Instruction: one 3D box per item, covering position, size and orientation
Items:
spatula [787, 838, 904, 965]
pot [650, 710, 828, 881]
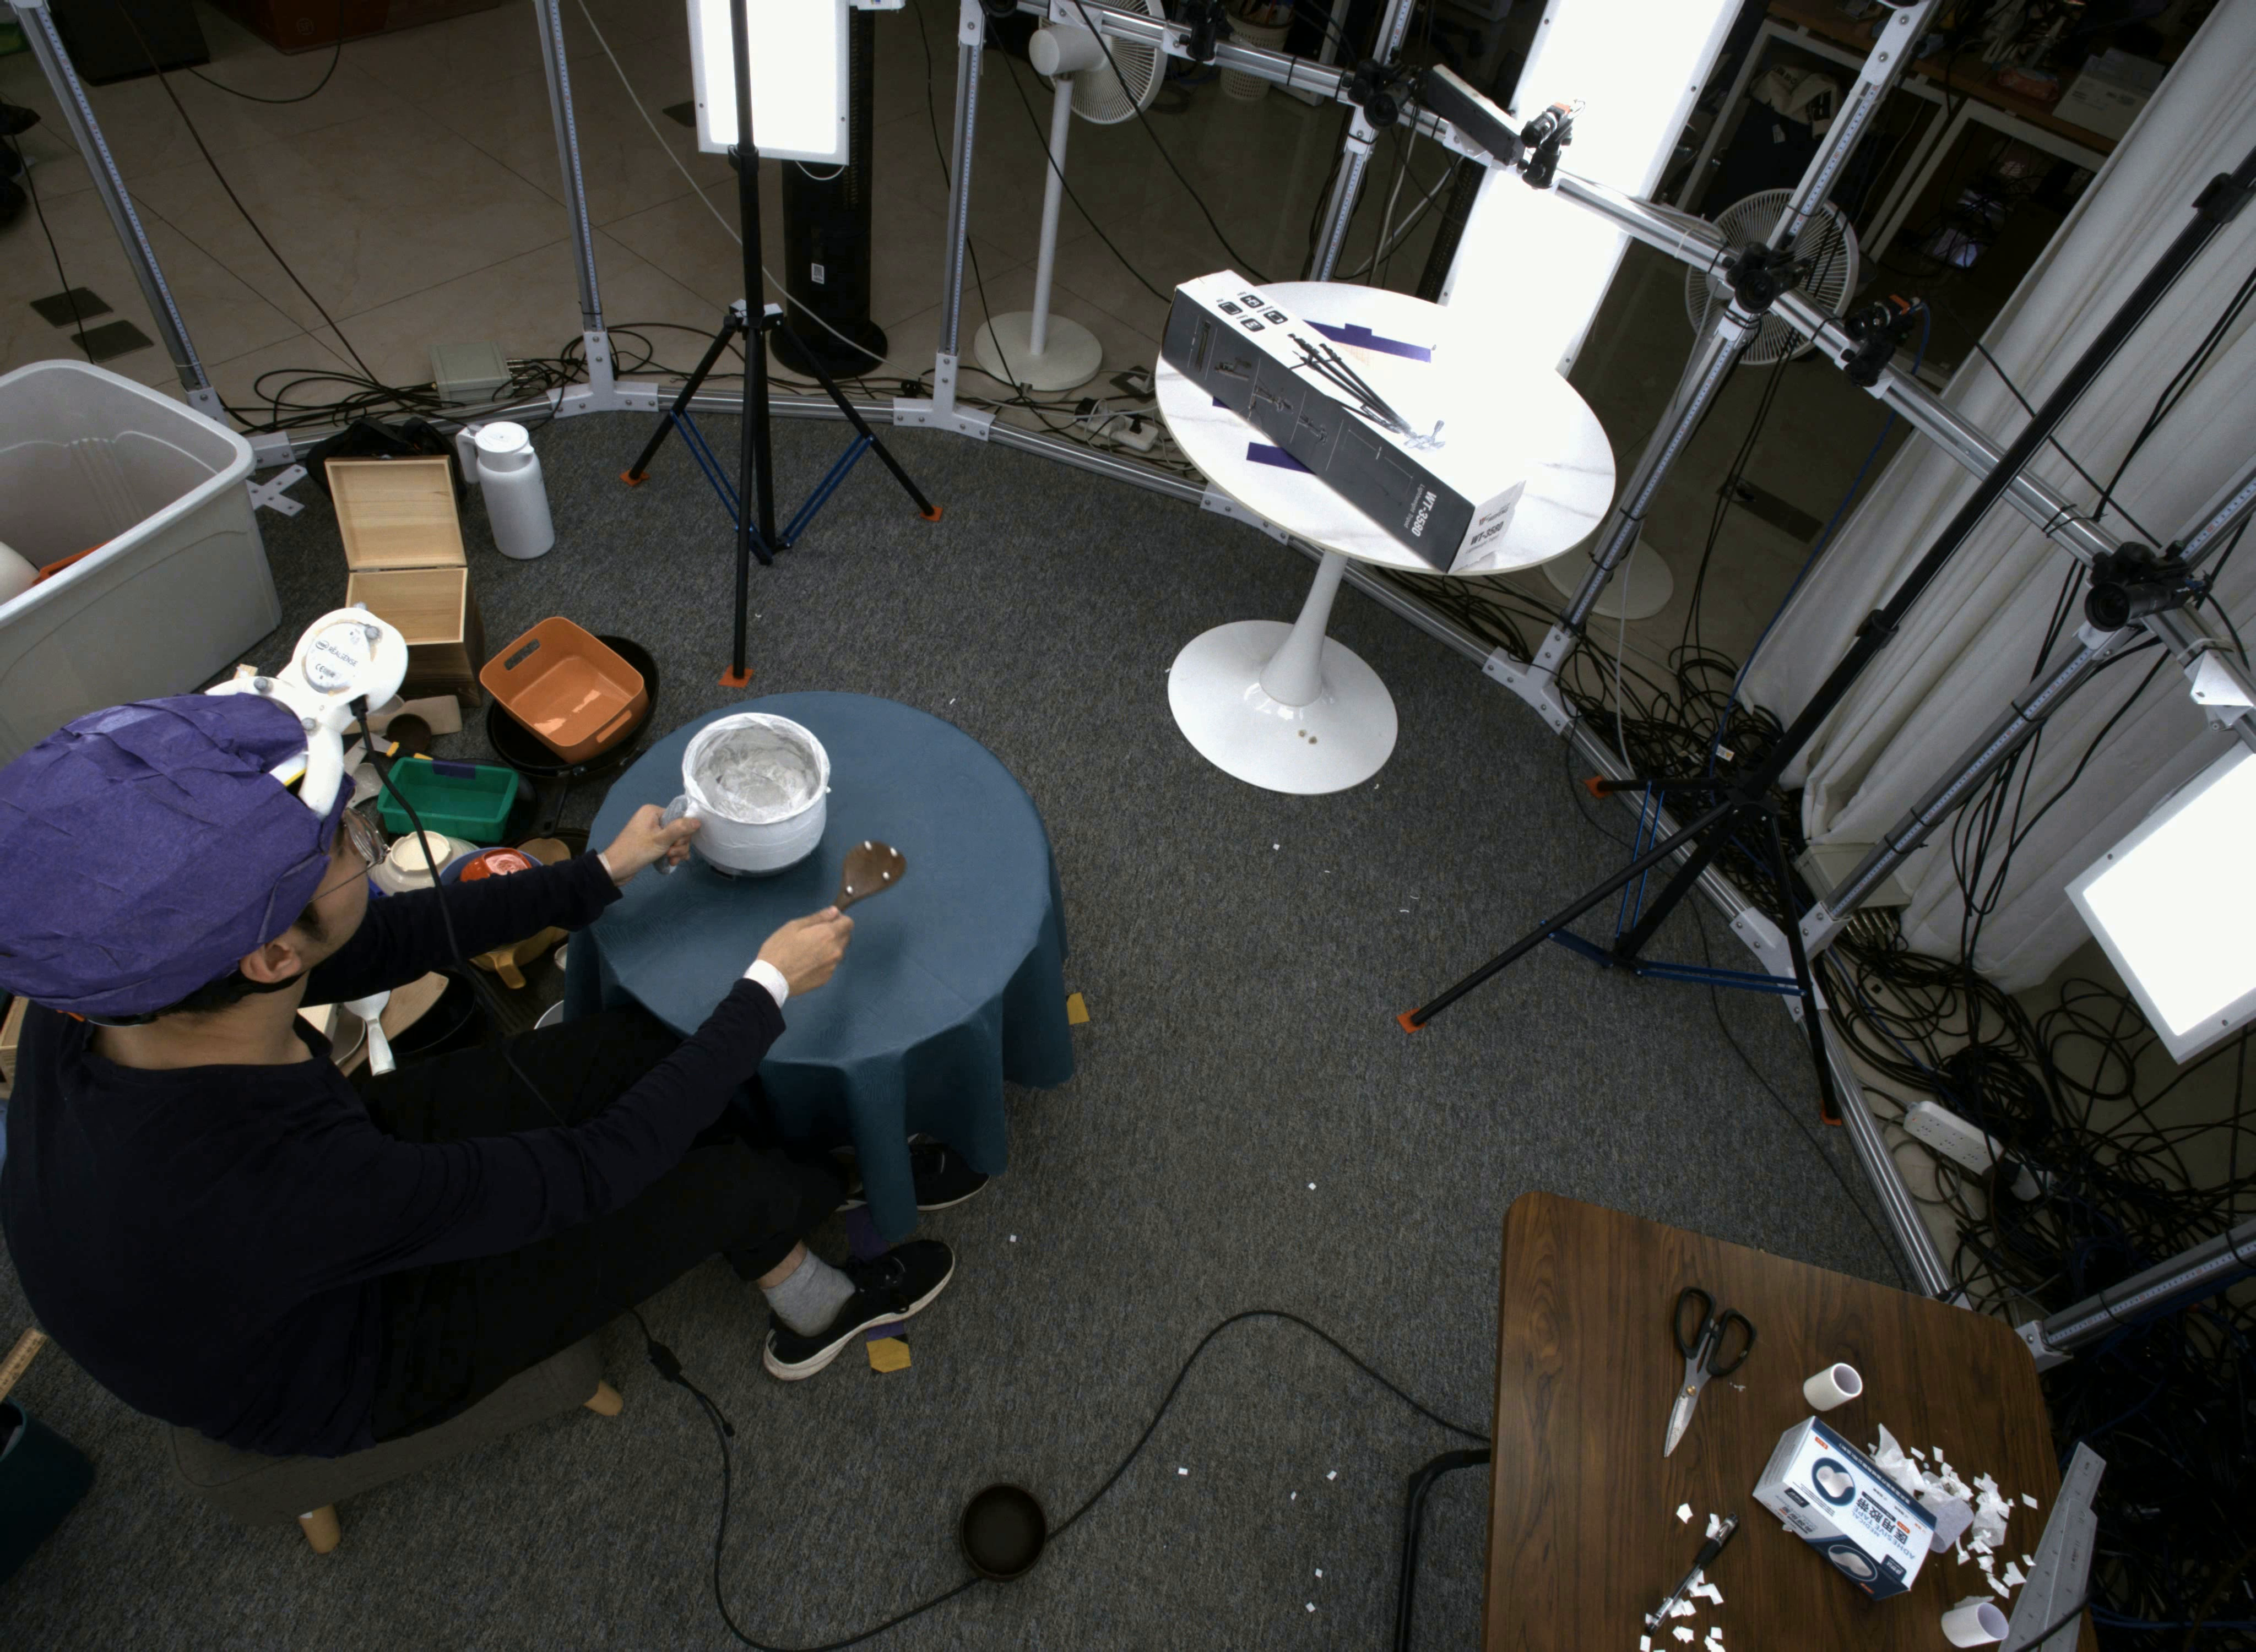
[{"bbox_3d":[-0.342,0.085,1.544,0.071,0.009,0.214,27,49,7],"label":"spatula"},{"bbox_3d":[-0.490,-0.026,1.617,0.174,0.139,0.234,43,51,20],"label":"pot"}]
